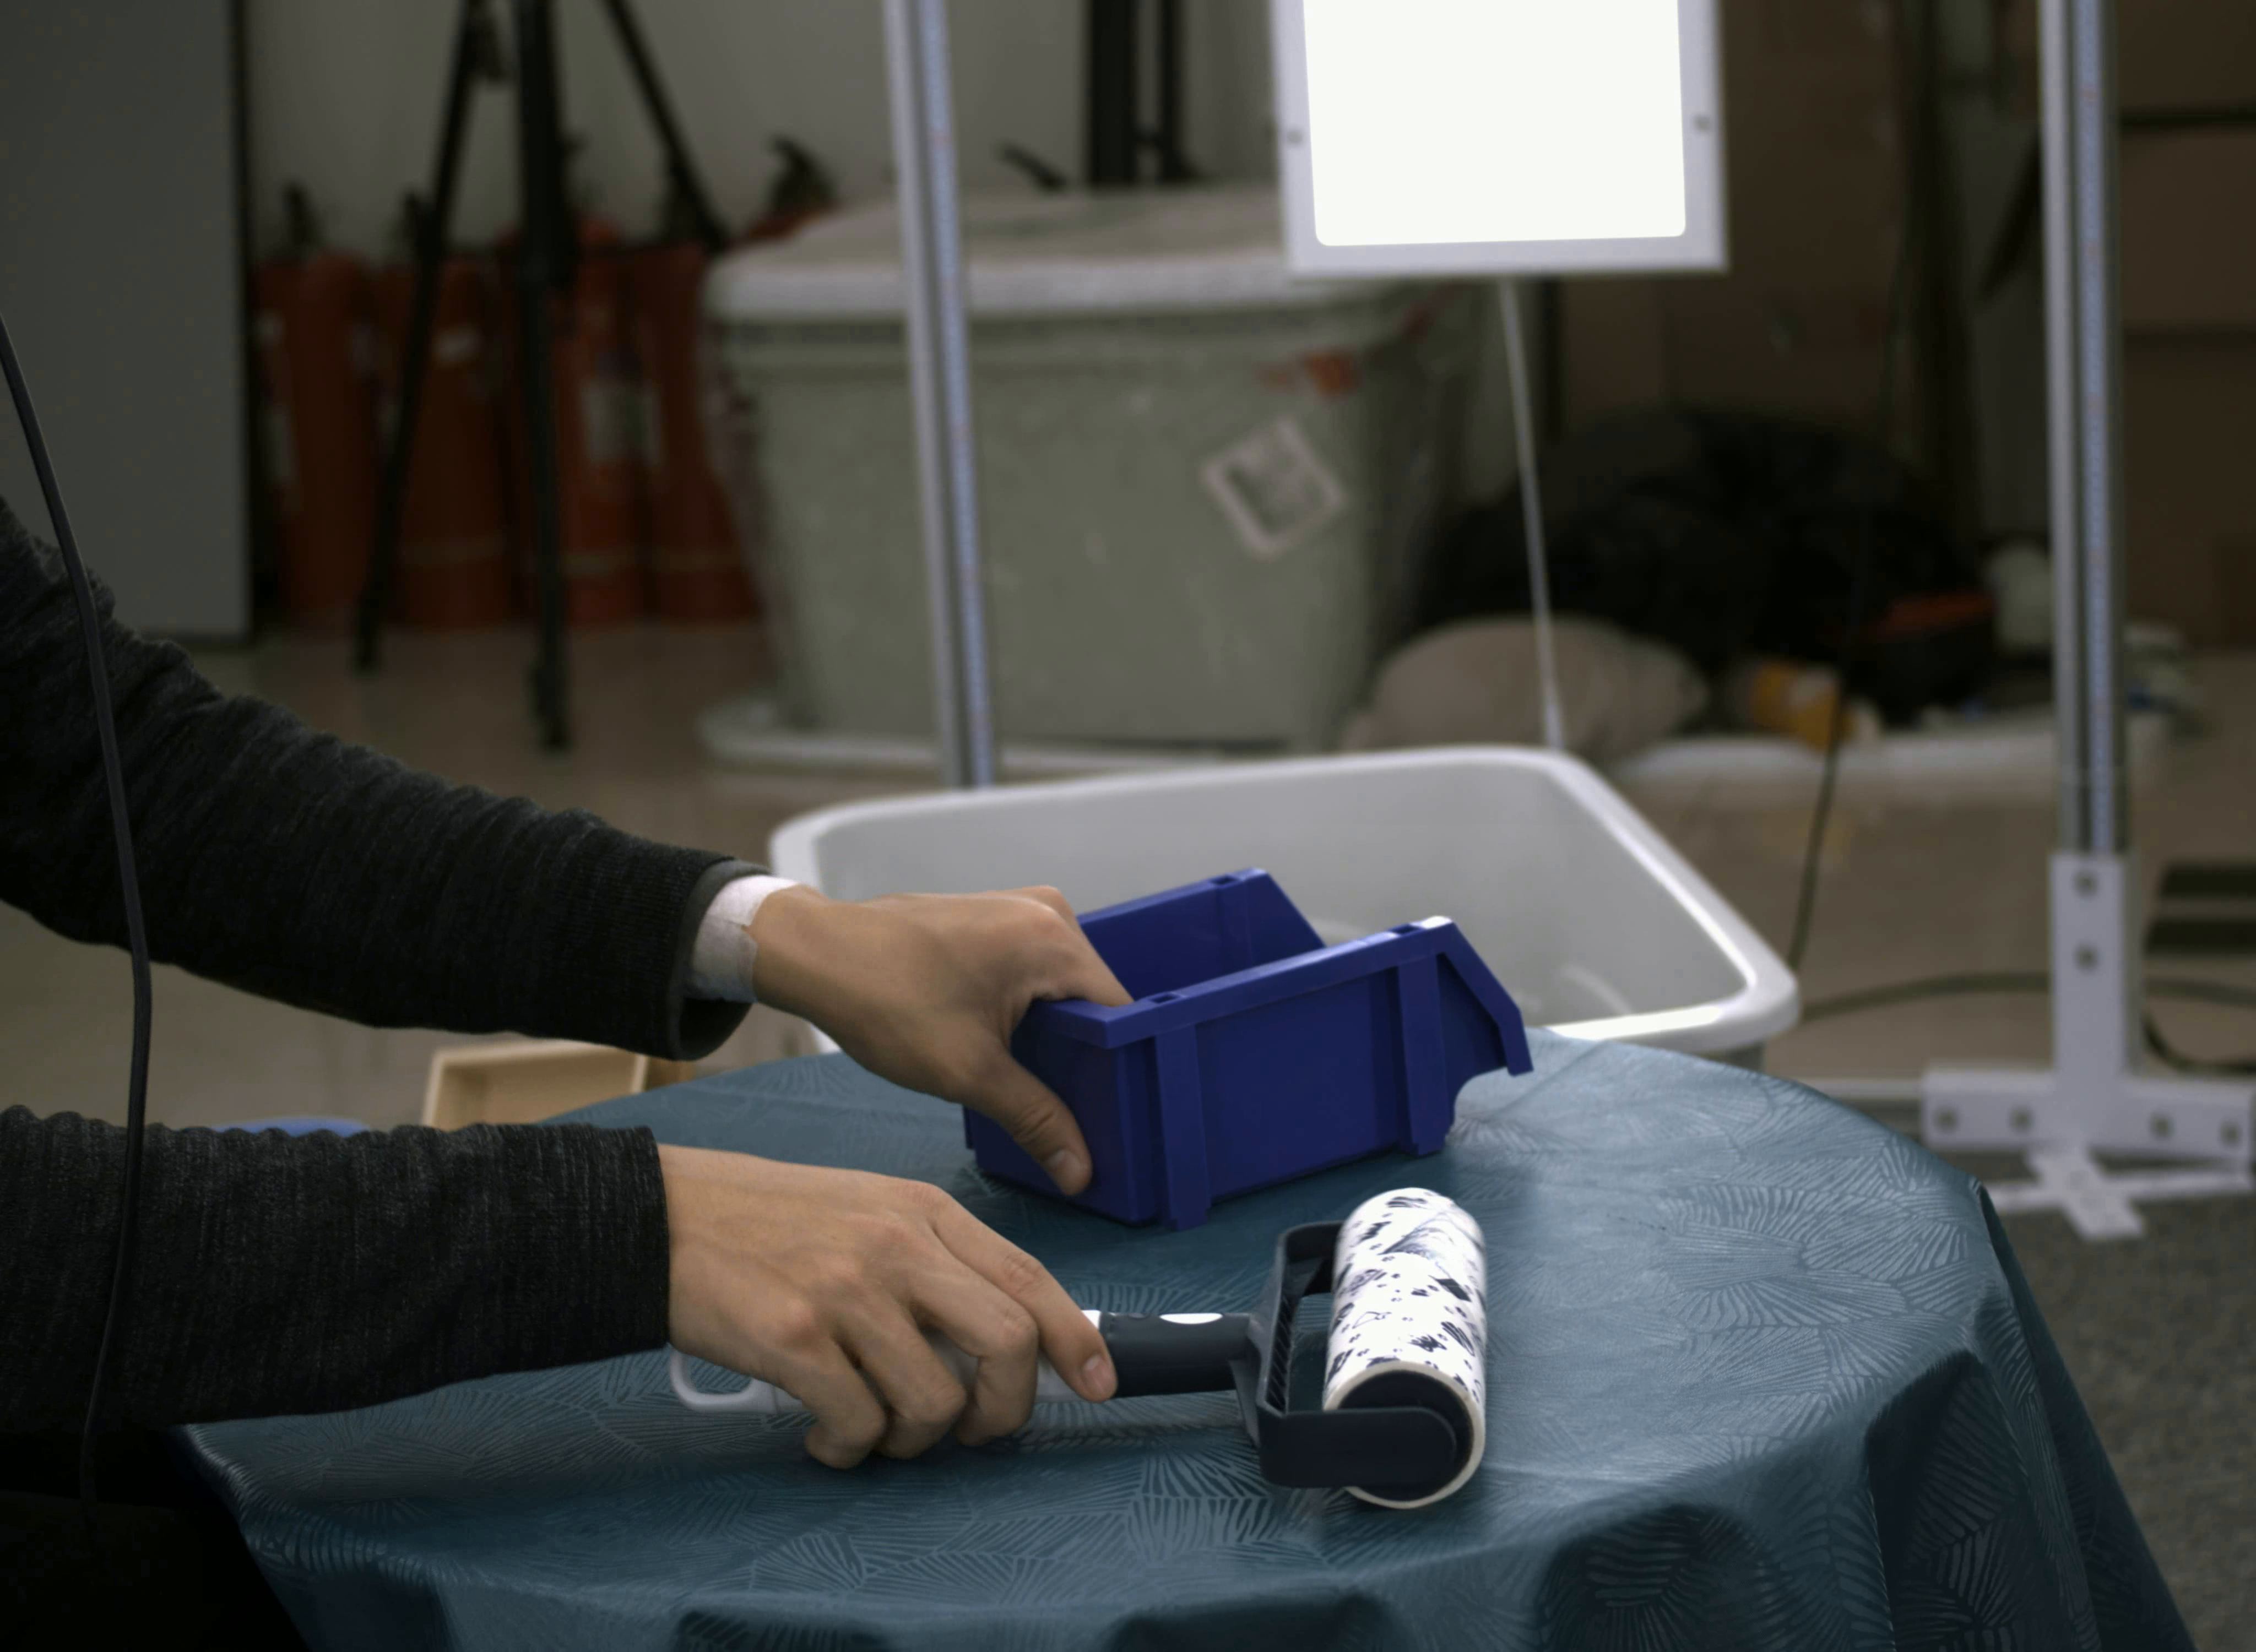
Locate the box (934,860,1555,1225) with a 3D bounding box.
[{"bbox_3d":[0.041,0.072,1.932,0.175,0.082,0.127,-17,17,-30],"label":"box"}]

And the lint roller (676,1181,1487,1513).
[{"bbox_3d":[-0.015,0.159,1.664,0.248,0.050,0.175,-2,15,7],"label":"lint roller"}]
